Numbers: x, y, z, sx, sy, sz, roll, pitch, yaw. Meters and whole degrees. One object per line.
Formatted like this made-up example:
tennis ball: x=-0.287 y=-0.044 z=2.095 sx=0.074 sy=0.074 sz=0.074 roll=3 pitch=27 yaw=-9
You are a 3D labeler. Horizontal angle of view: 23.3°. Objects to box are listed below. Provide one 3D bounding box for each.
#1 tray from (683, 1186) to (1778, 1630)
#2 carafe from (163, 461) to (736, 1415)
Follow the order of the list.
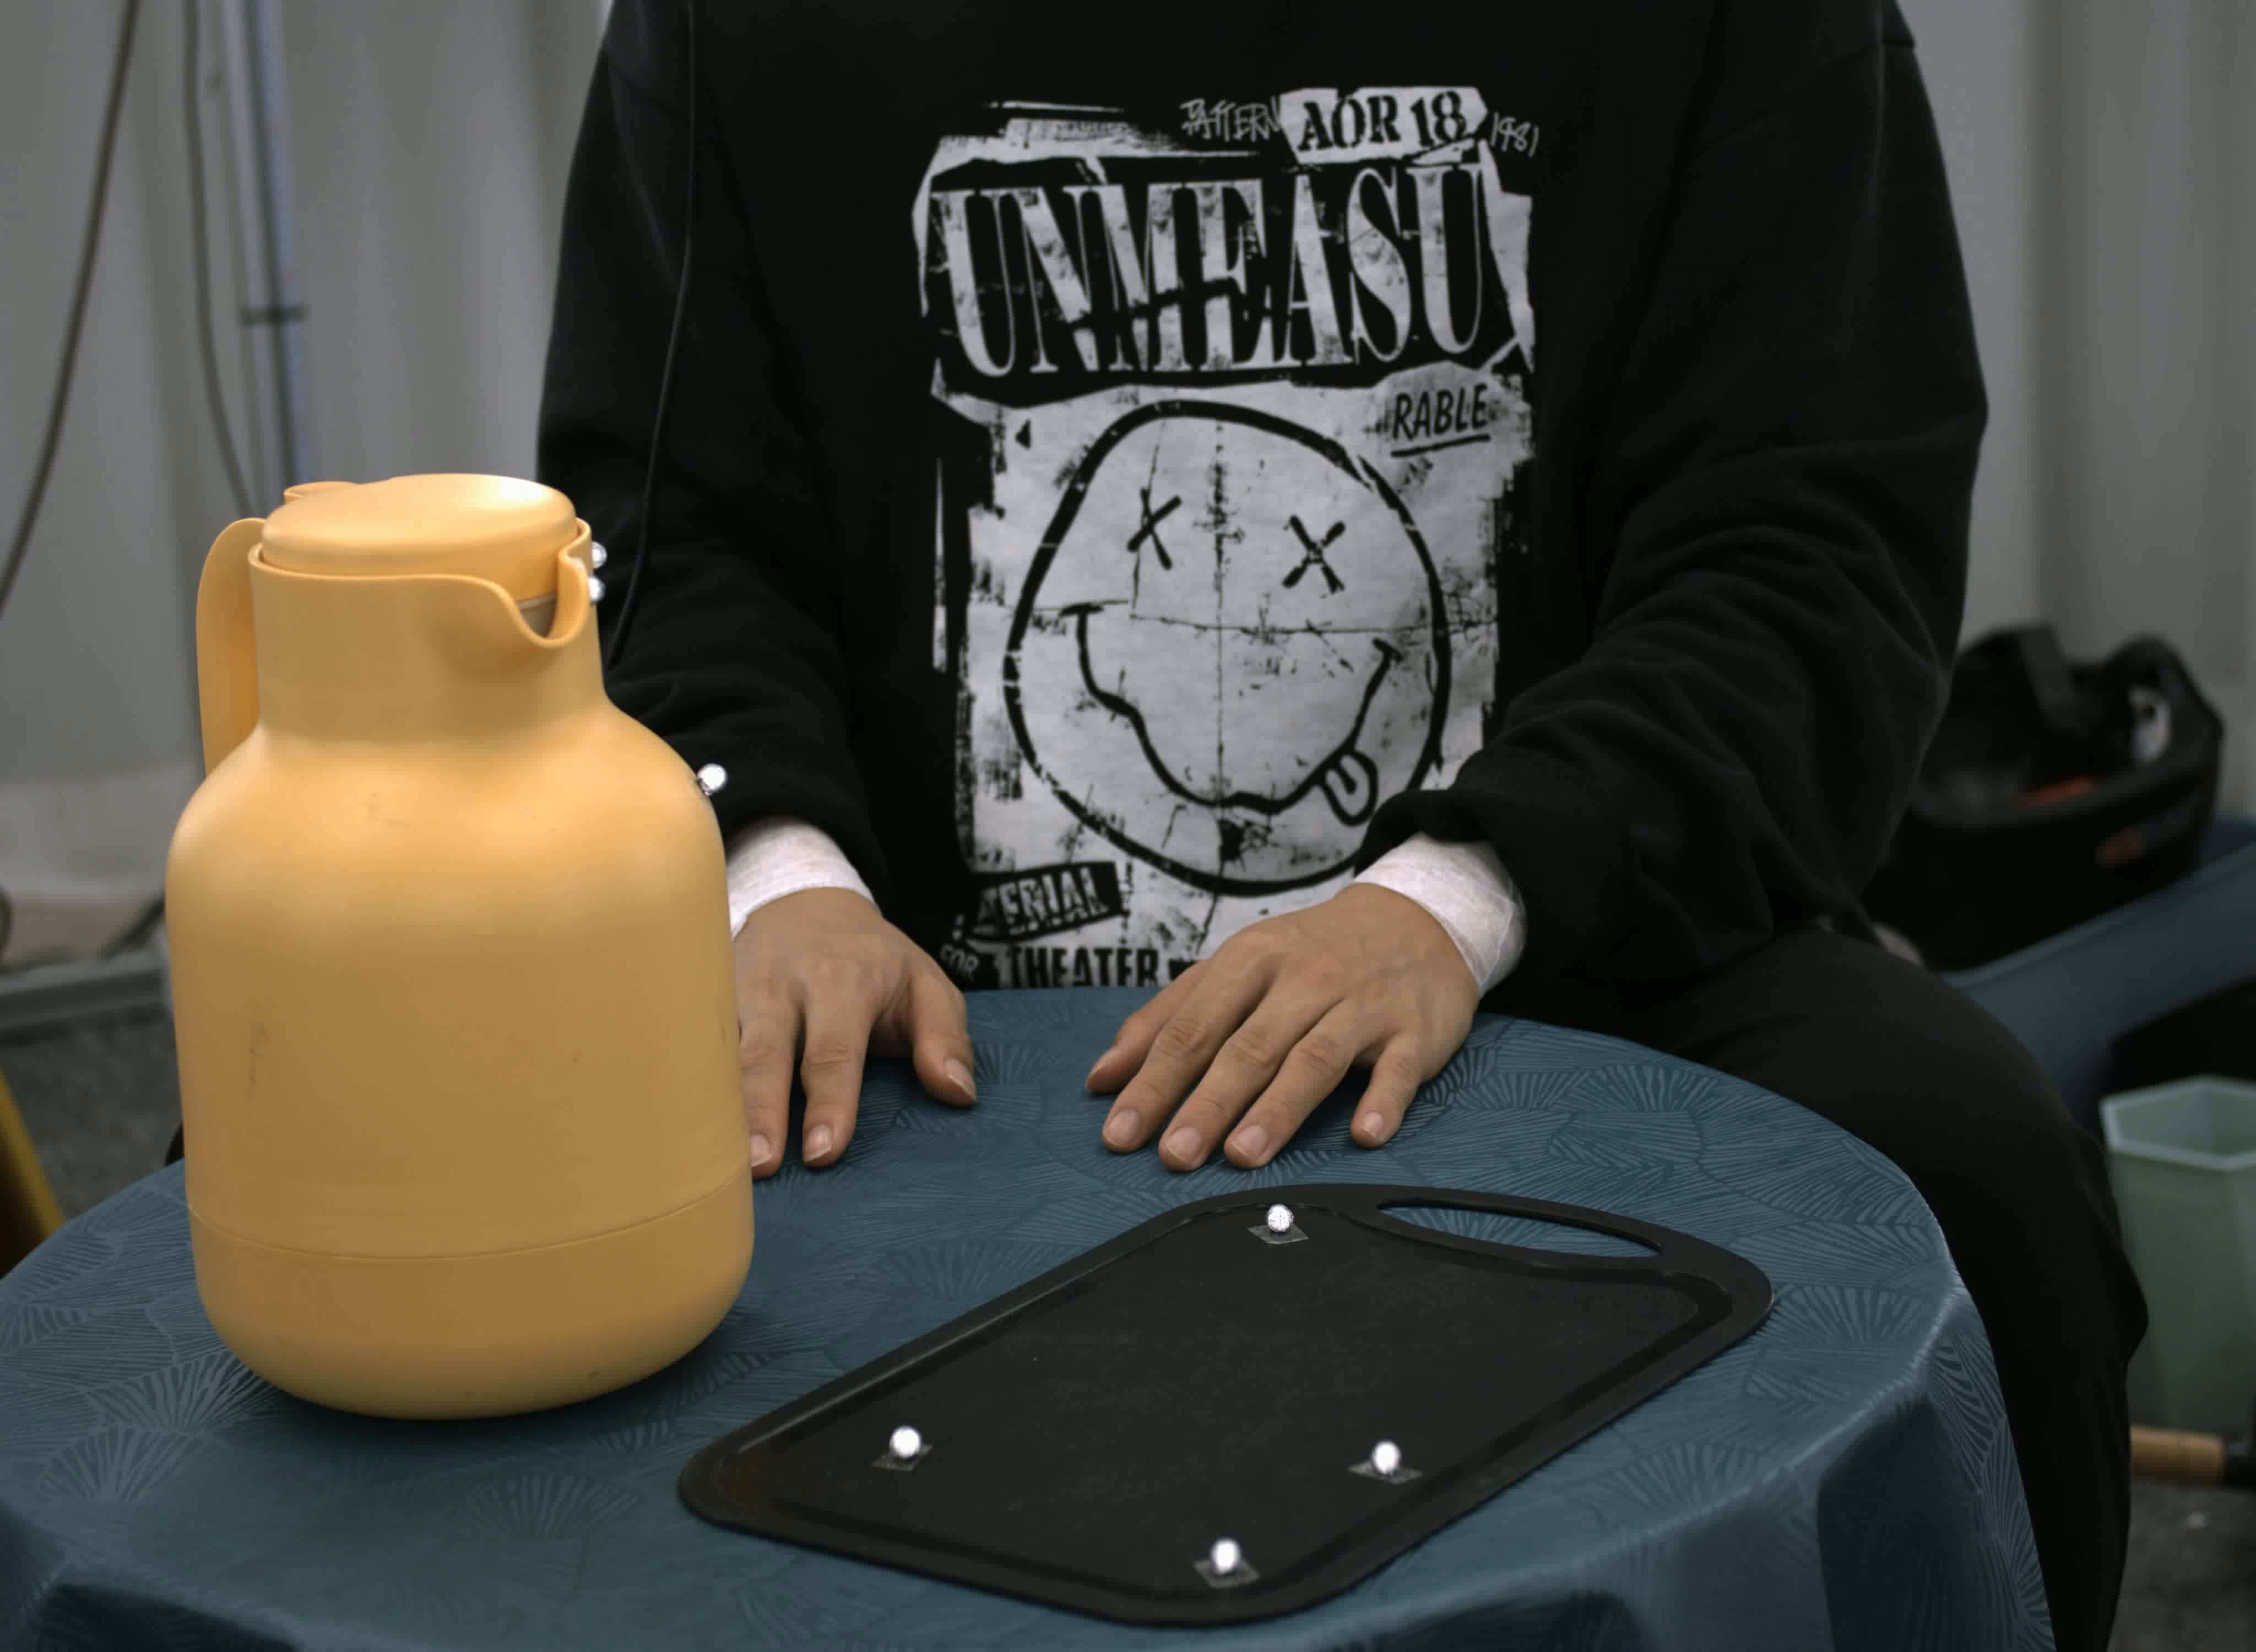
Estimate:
tray: x=0.038 y=0.154 z=1.545 sx=0.212 sy=0.010 sz=0.325 roll=8 pitch=18 yaw=36
carafe: x=-0.205 y=0.023 z=1.587 sx=0.163 sy=0.259 sz=0.204 roll=-8 pitch=17 yaw=-33
